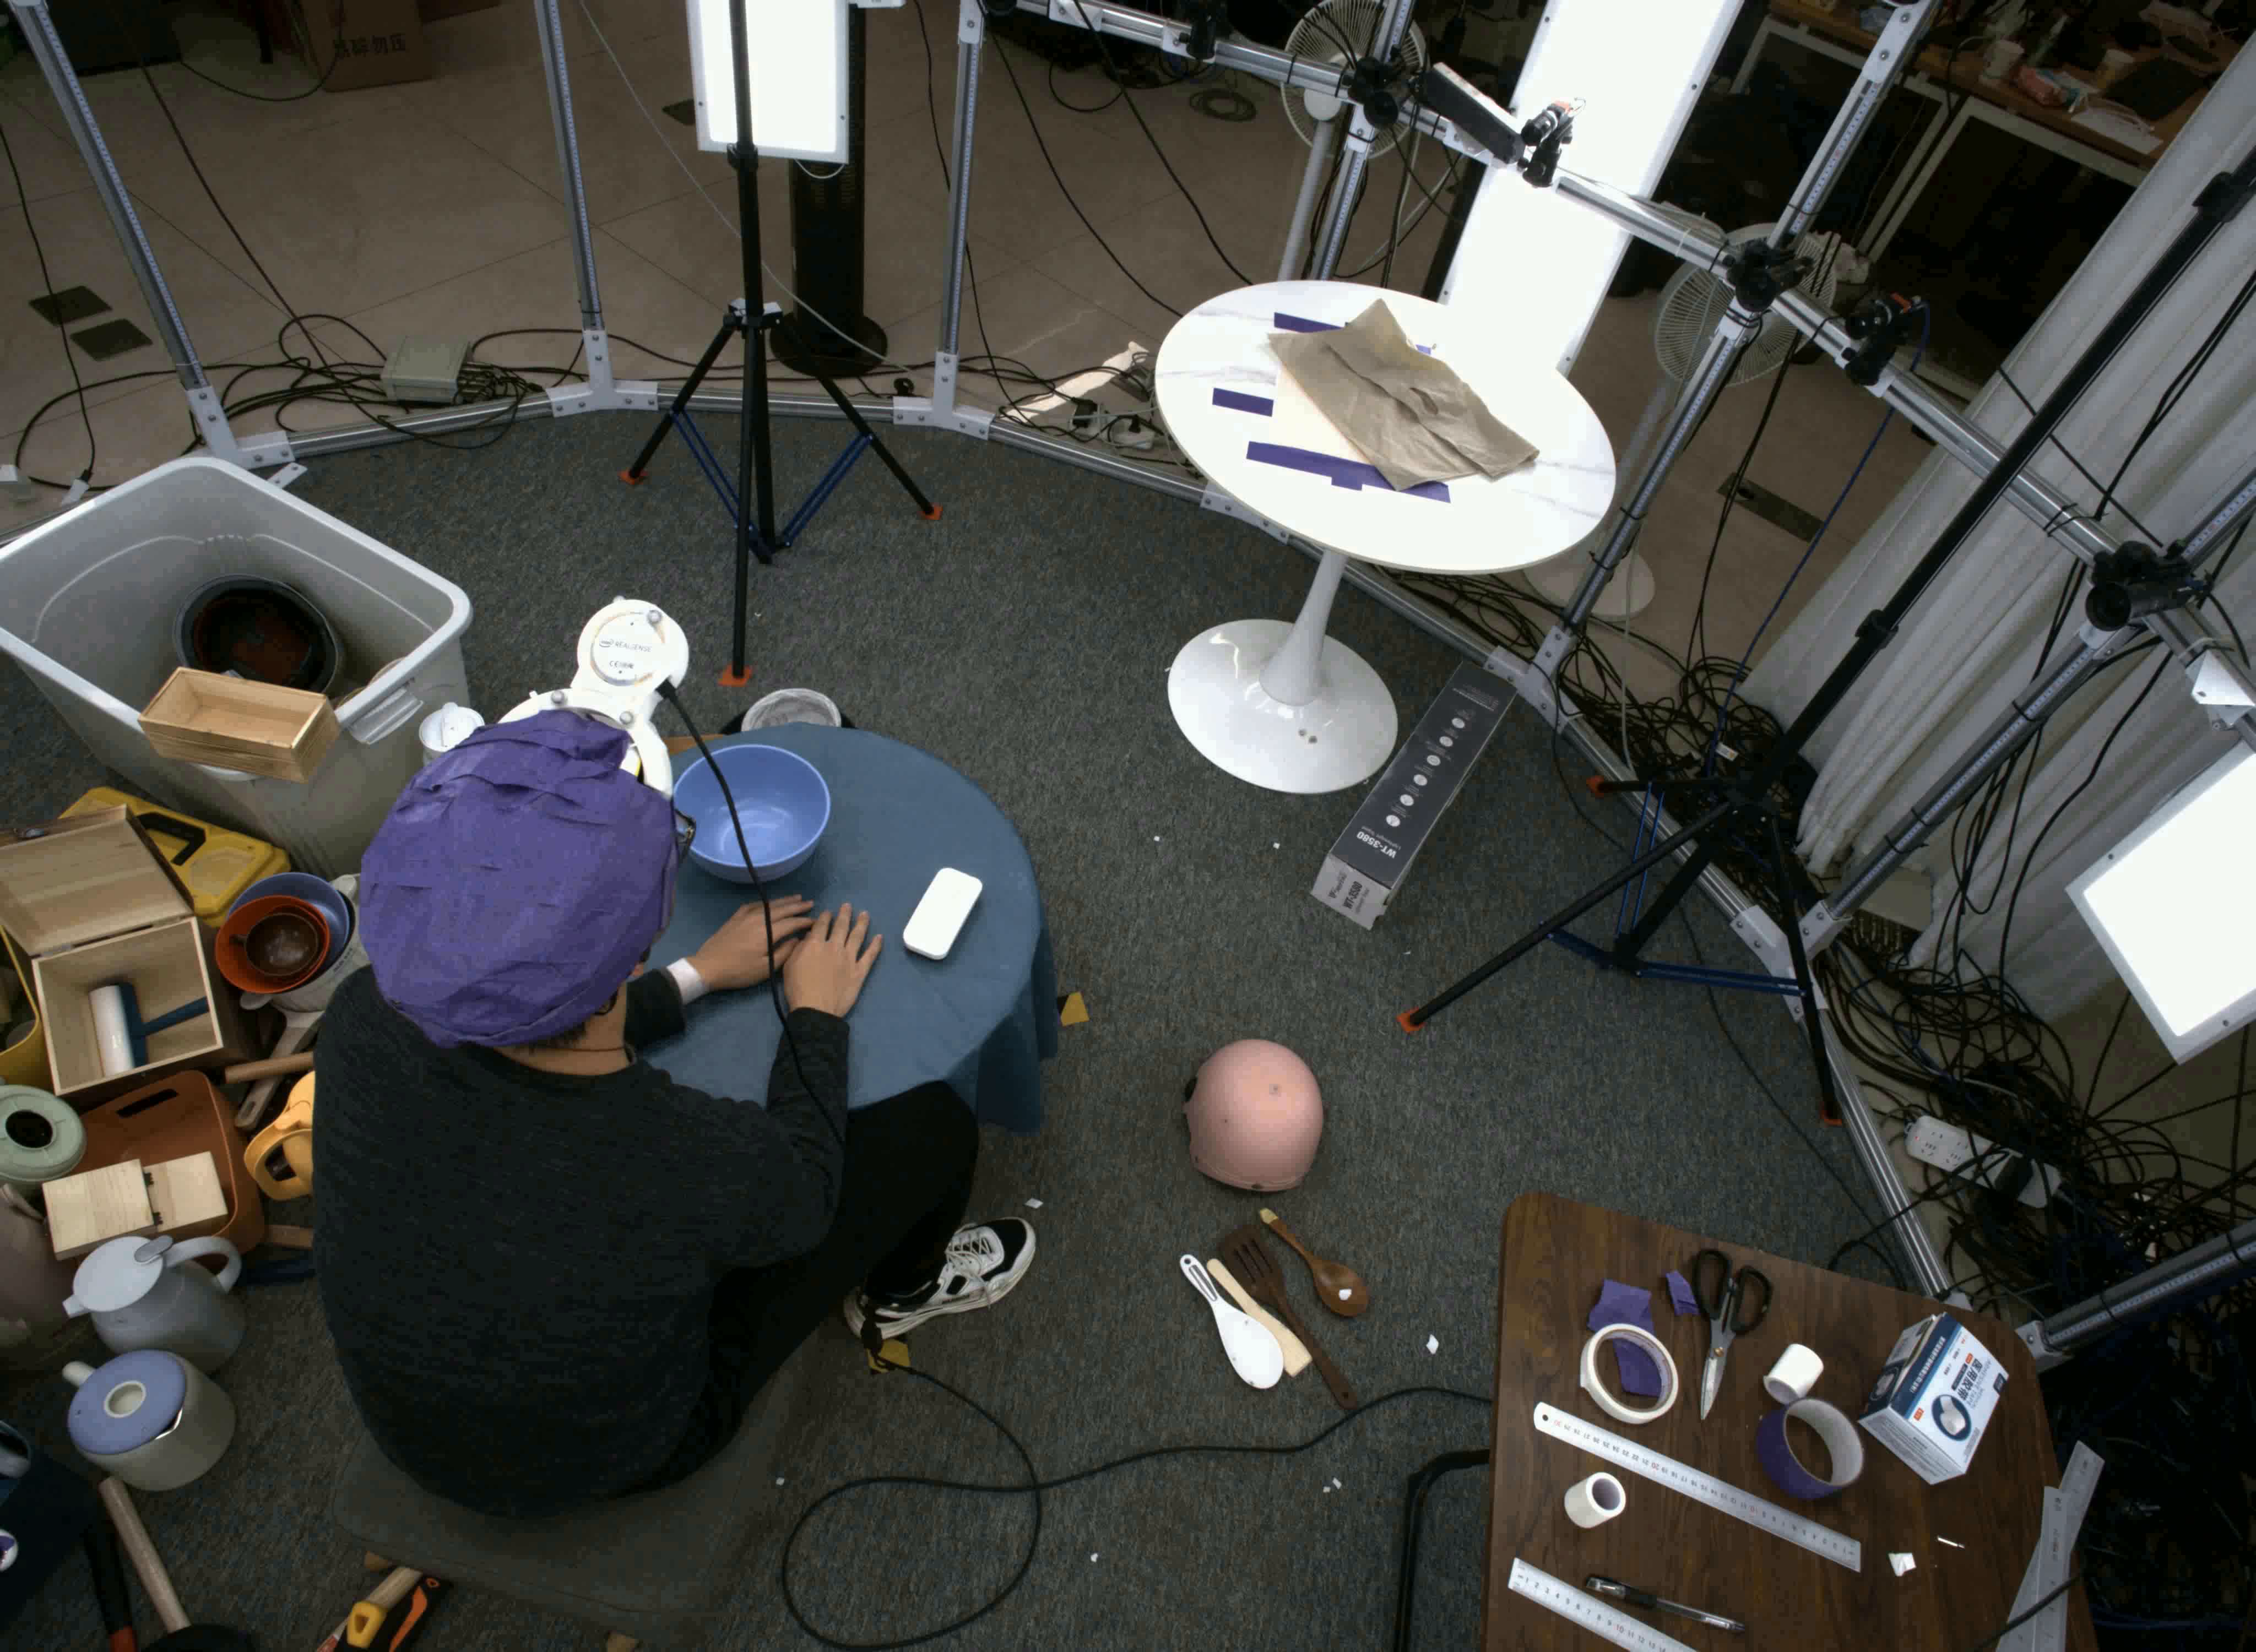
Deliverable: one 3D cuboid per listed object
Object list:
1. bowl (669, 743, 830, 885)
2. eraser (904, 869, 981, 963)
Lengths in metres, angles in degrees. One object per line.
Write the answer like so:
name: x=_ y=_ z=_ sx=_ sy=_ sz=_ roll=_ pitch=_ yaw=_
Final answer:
bowl: x=-0.479 y=-0.001 z=1.644 sx=0.196 sy=0.097 sz=0.193 roll=8 pitch=51 yaw=-9
eraser: x=-0.238 y=0.111 z=1.665 sx=0.062 sy=0.035 sz=0.130 roll=22 pitch=51 yaw=4
